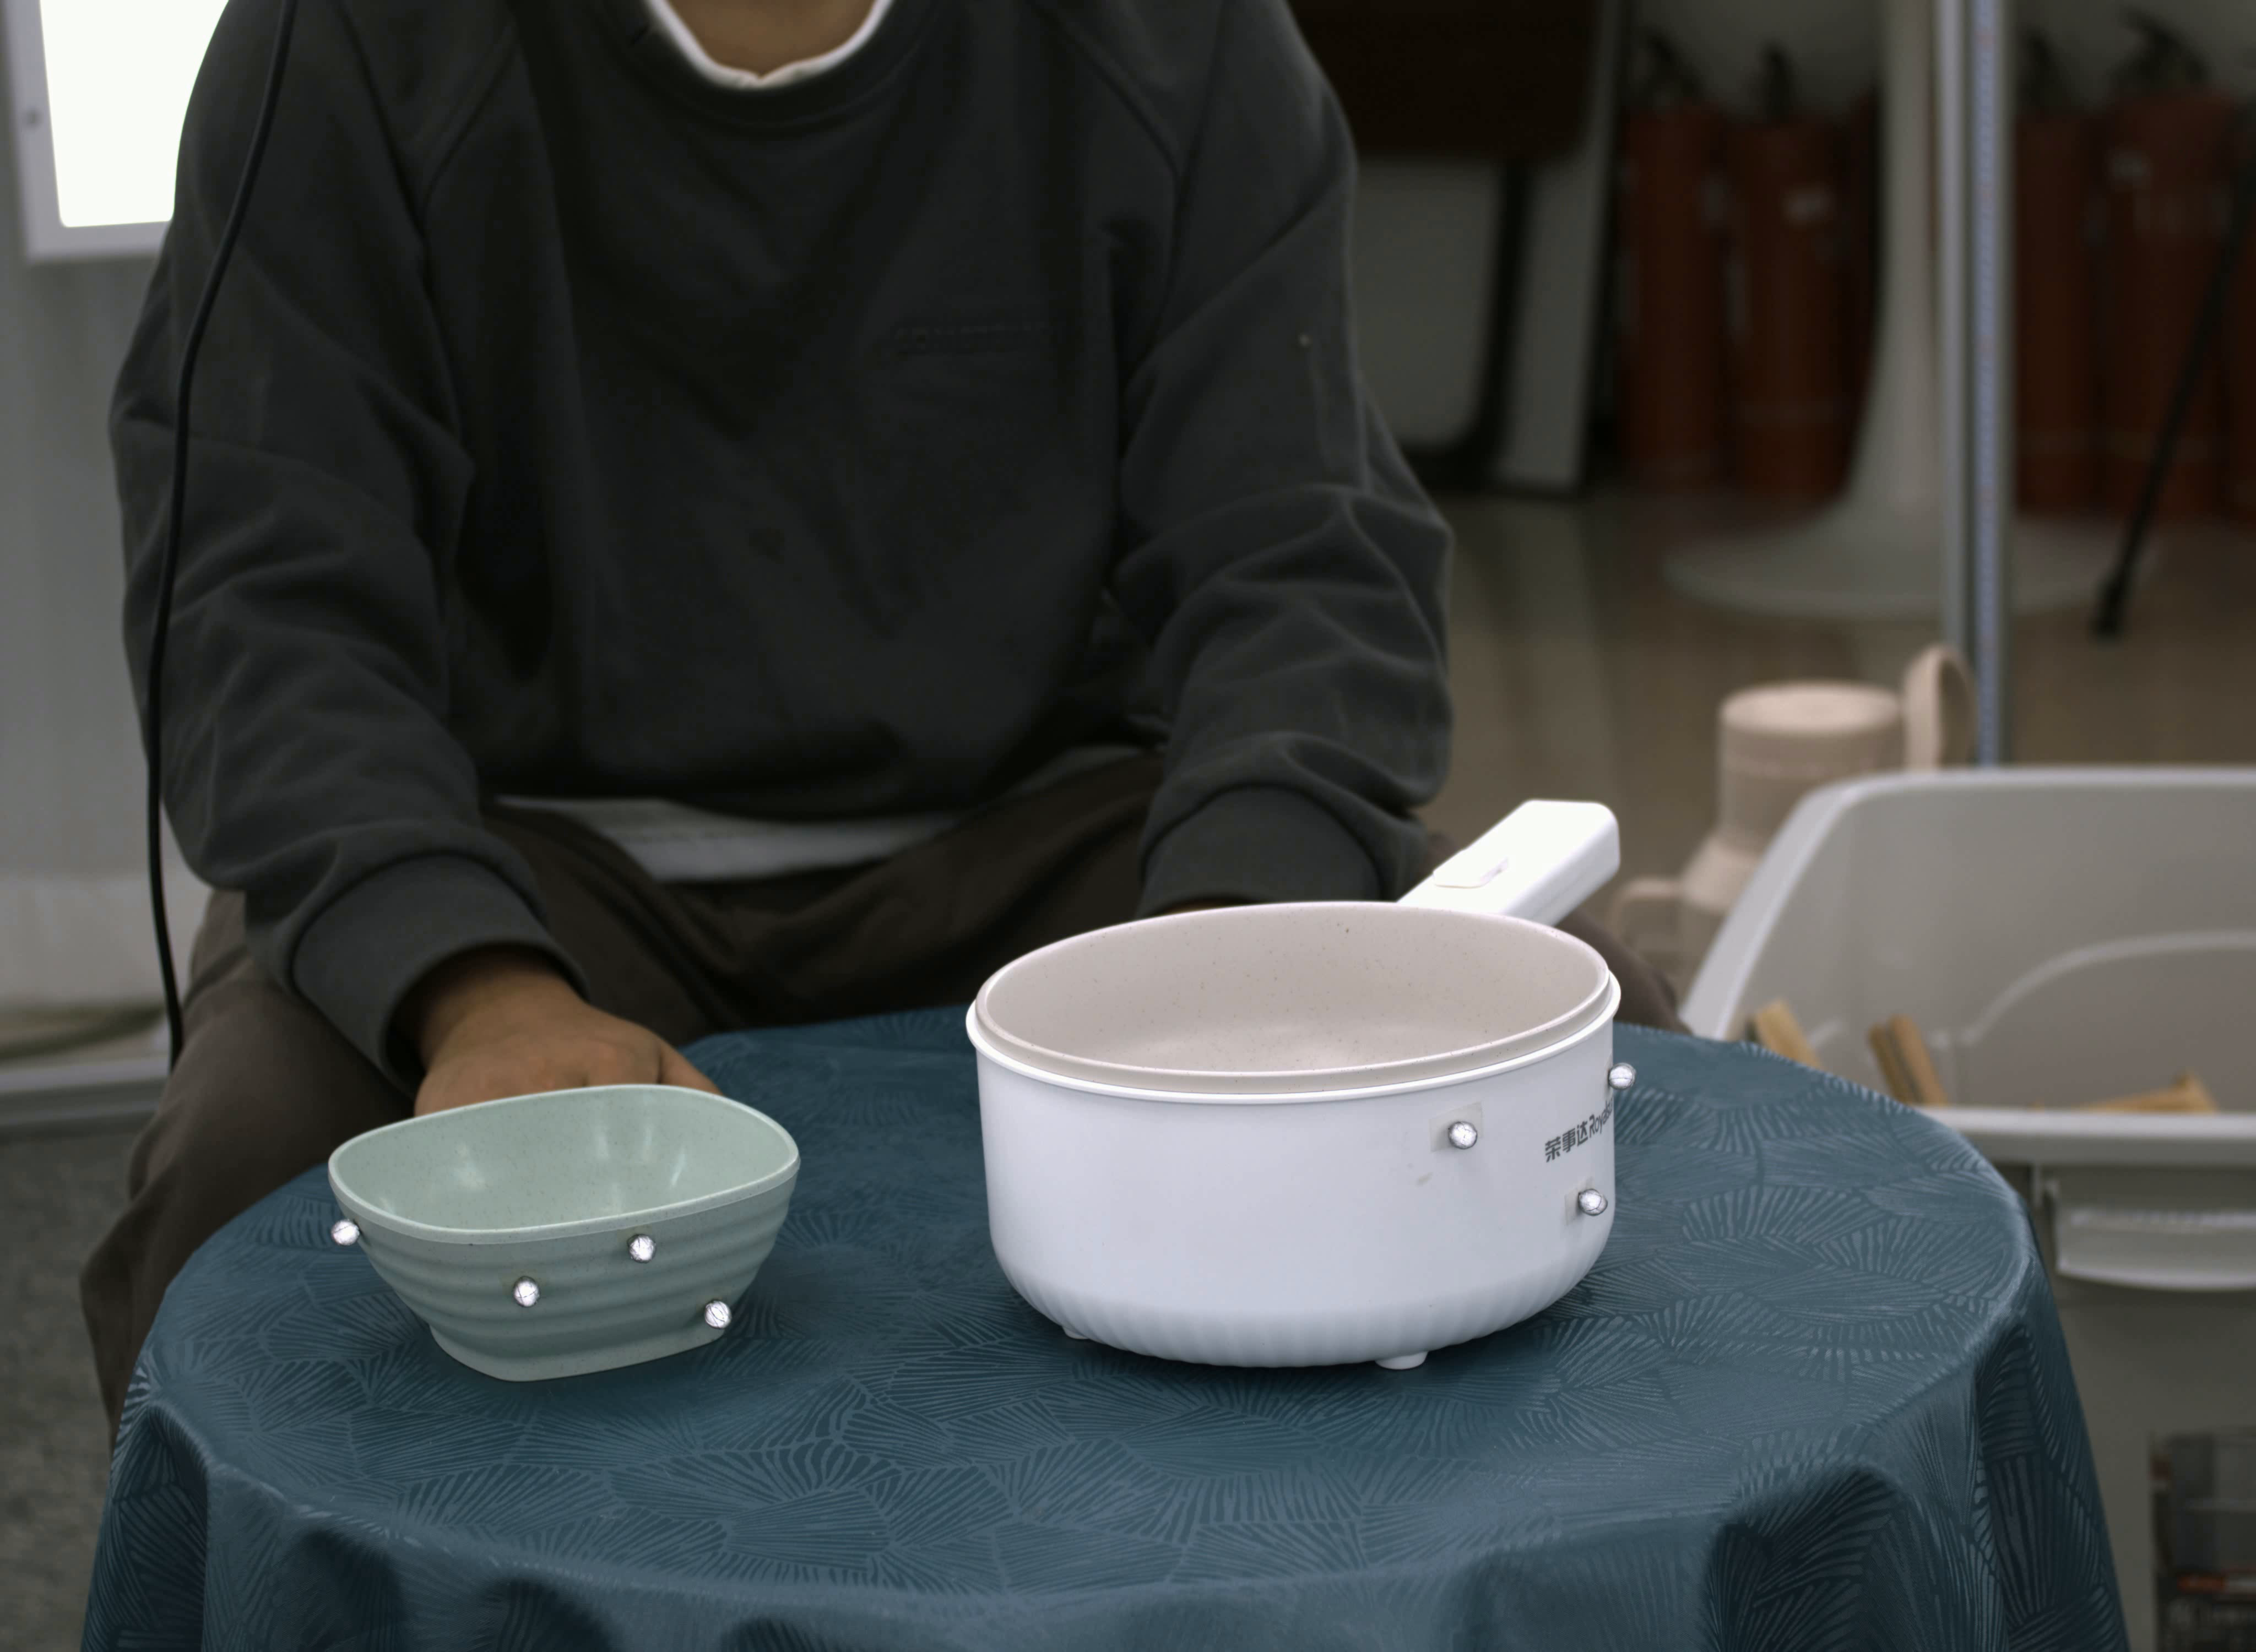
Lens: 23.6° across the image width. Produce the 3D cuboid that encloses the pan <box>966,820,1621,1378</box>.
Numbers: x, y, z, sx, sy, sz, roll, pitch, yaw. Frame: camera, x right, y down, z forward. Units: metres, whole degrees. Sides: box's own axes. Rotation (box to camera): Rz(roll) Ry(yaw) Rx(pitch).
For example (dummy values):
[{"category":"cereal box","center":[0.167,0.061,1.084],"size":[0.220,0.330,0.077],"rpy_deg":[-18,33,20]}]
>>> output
[{"category":"pan","center":[0.083,0.083,1.717],"size":[0.201,0.103,0.350],"rpy_deg":[0,13,25]}]

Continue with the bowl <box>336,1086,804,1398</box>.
[{"category":"bowl","center":[-0.170,0.131,1.667],"size":[0.149,0.059,0.152],"rpy_deg":[-4,15,0]}]
